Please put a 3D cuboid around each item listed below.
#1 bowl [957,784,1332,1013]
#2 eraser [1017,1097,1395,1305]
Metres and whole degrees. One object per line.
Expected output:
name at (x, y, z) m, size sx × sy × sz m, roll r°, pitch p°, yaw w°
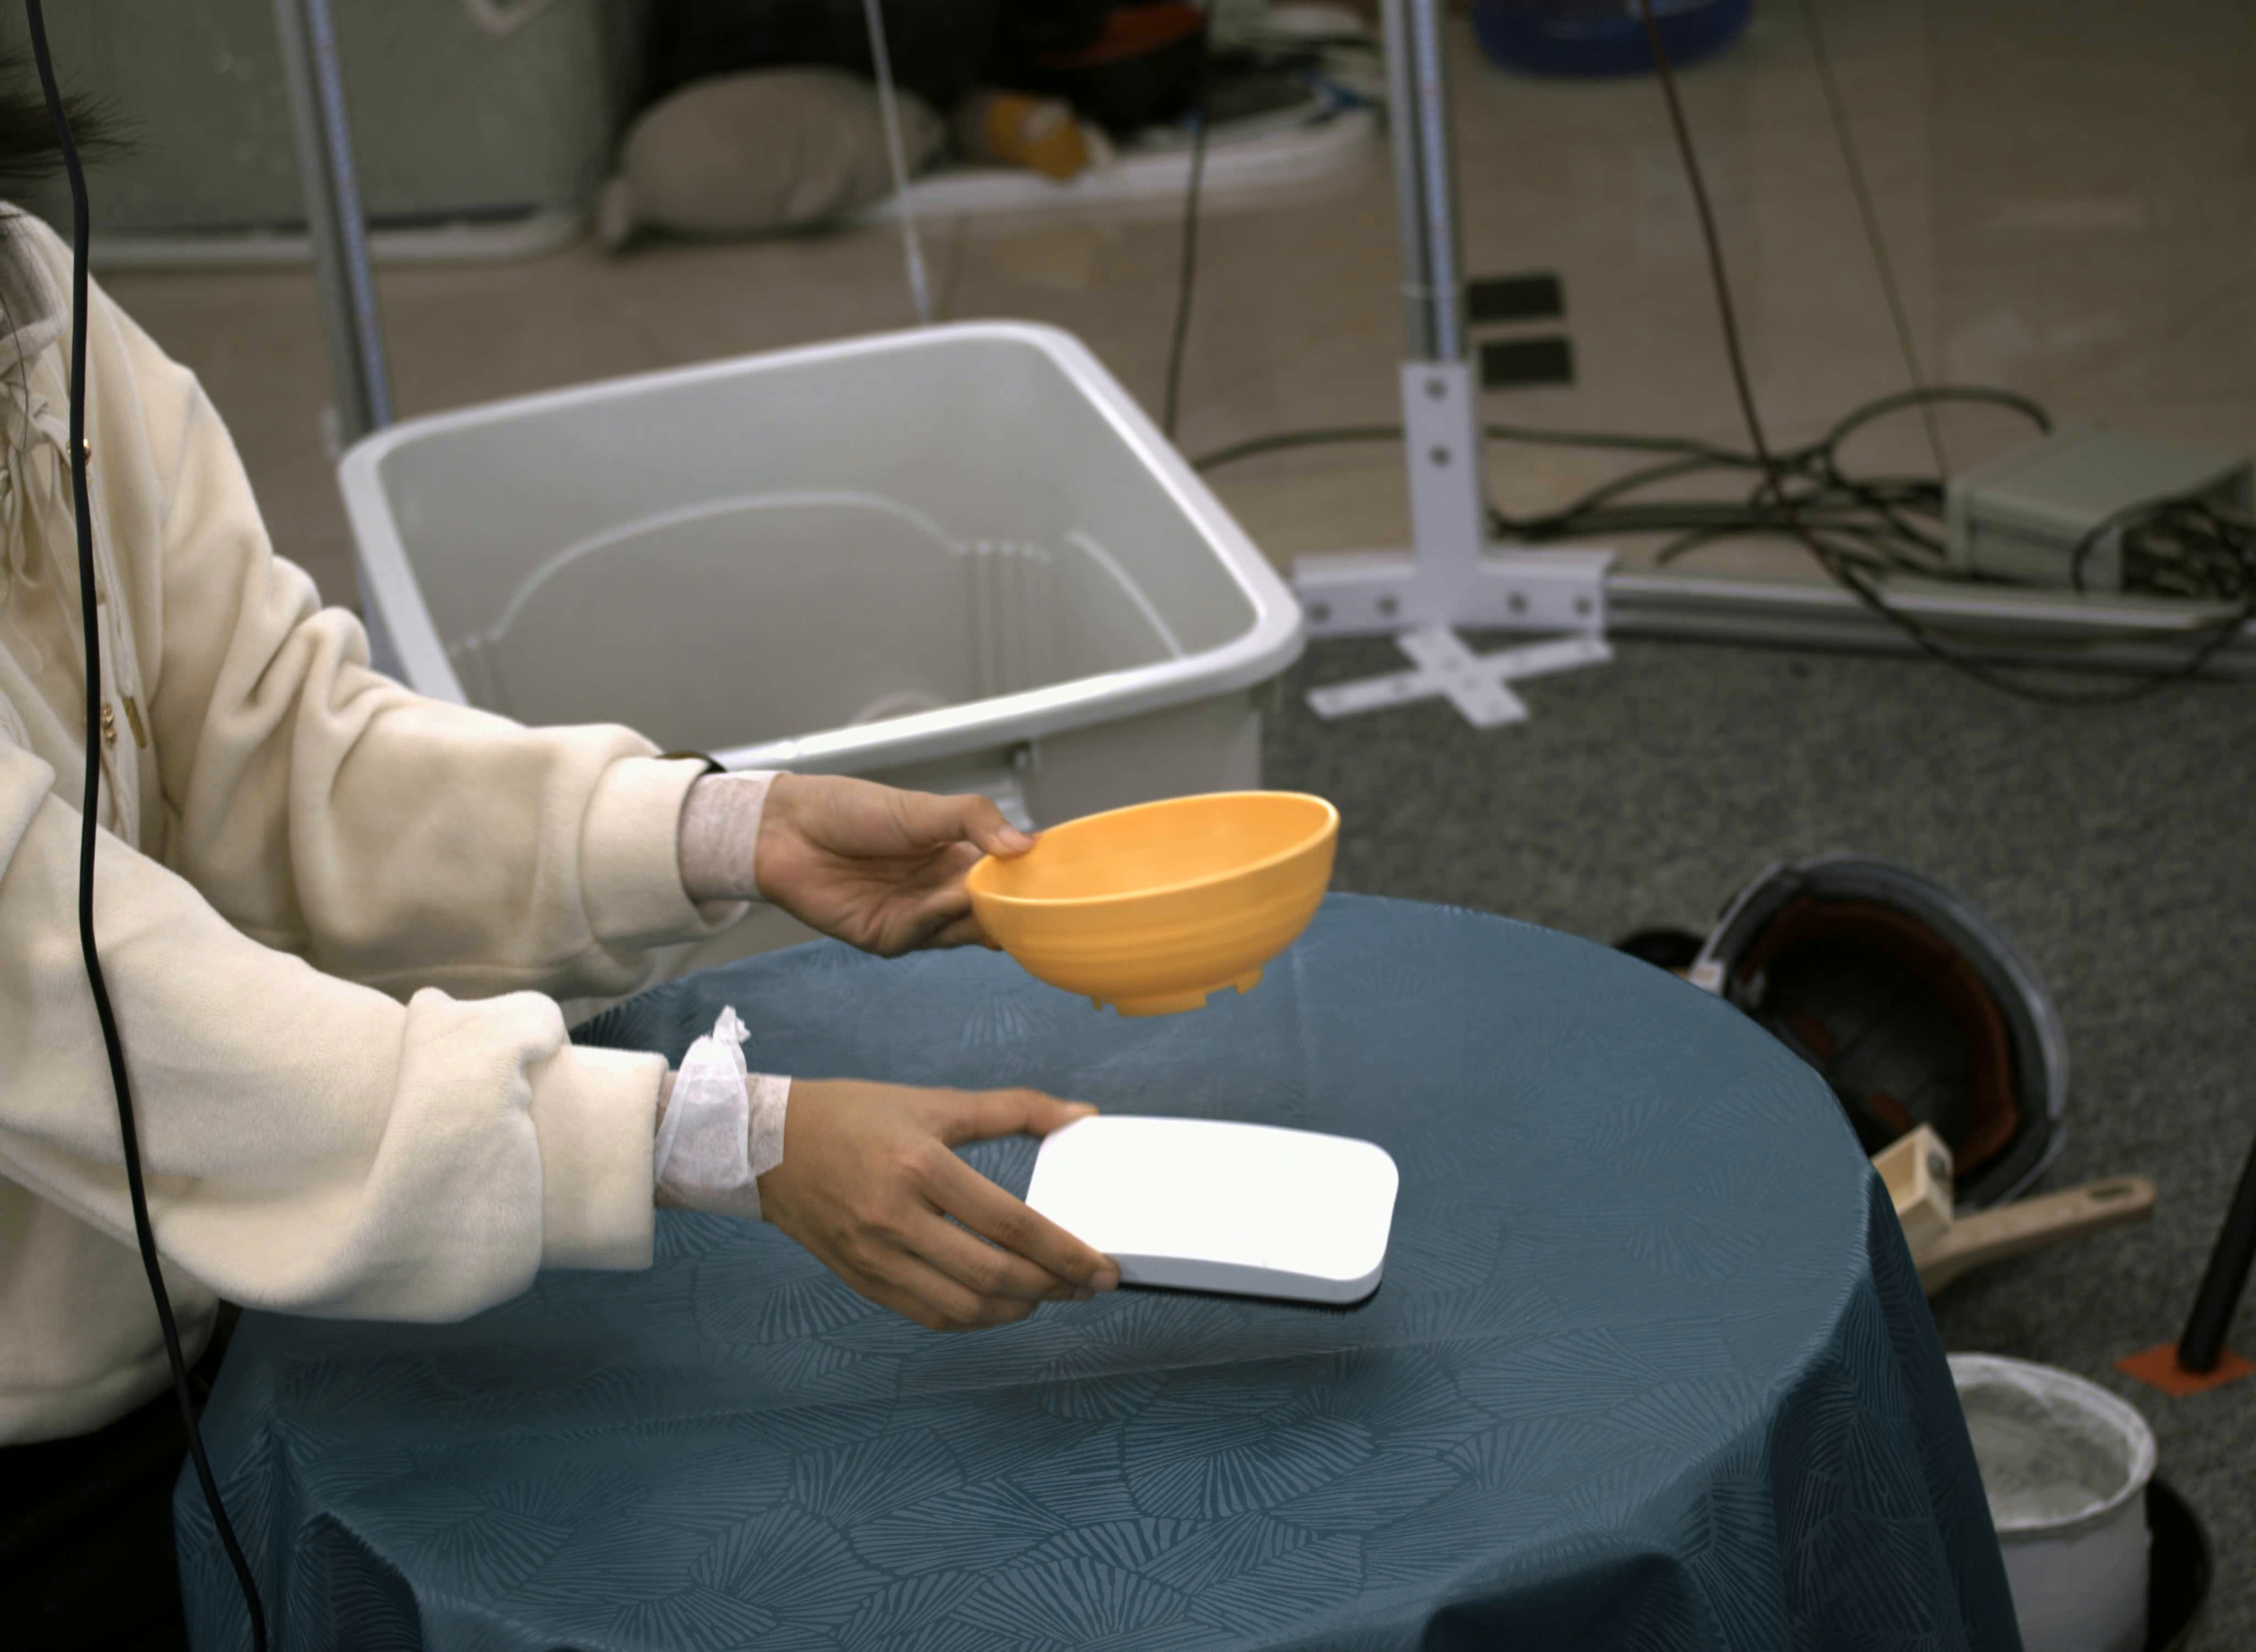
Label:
bowl at (0.010, 0.033, 2.147) m, size 0.145 × 0.061 × 0.144 m, roll -9°, pitch 14°, yaw 2°
eraser at (0.028, 0.133, 2.007) m, size 0.131 × 0.035 × 0.062 m, roll 5°, pitch 53°, yaw 12°
